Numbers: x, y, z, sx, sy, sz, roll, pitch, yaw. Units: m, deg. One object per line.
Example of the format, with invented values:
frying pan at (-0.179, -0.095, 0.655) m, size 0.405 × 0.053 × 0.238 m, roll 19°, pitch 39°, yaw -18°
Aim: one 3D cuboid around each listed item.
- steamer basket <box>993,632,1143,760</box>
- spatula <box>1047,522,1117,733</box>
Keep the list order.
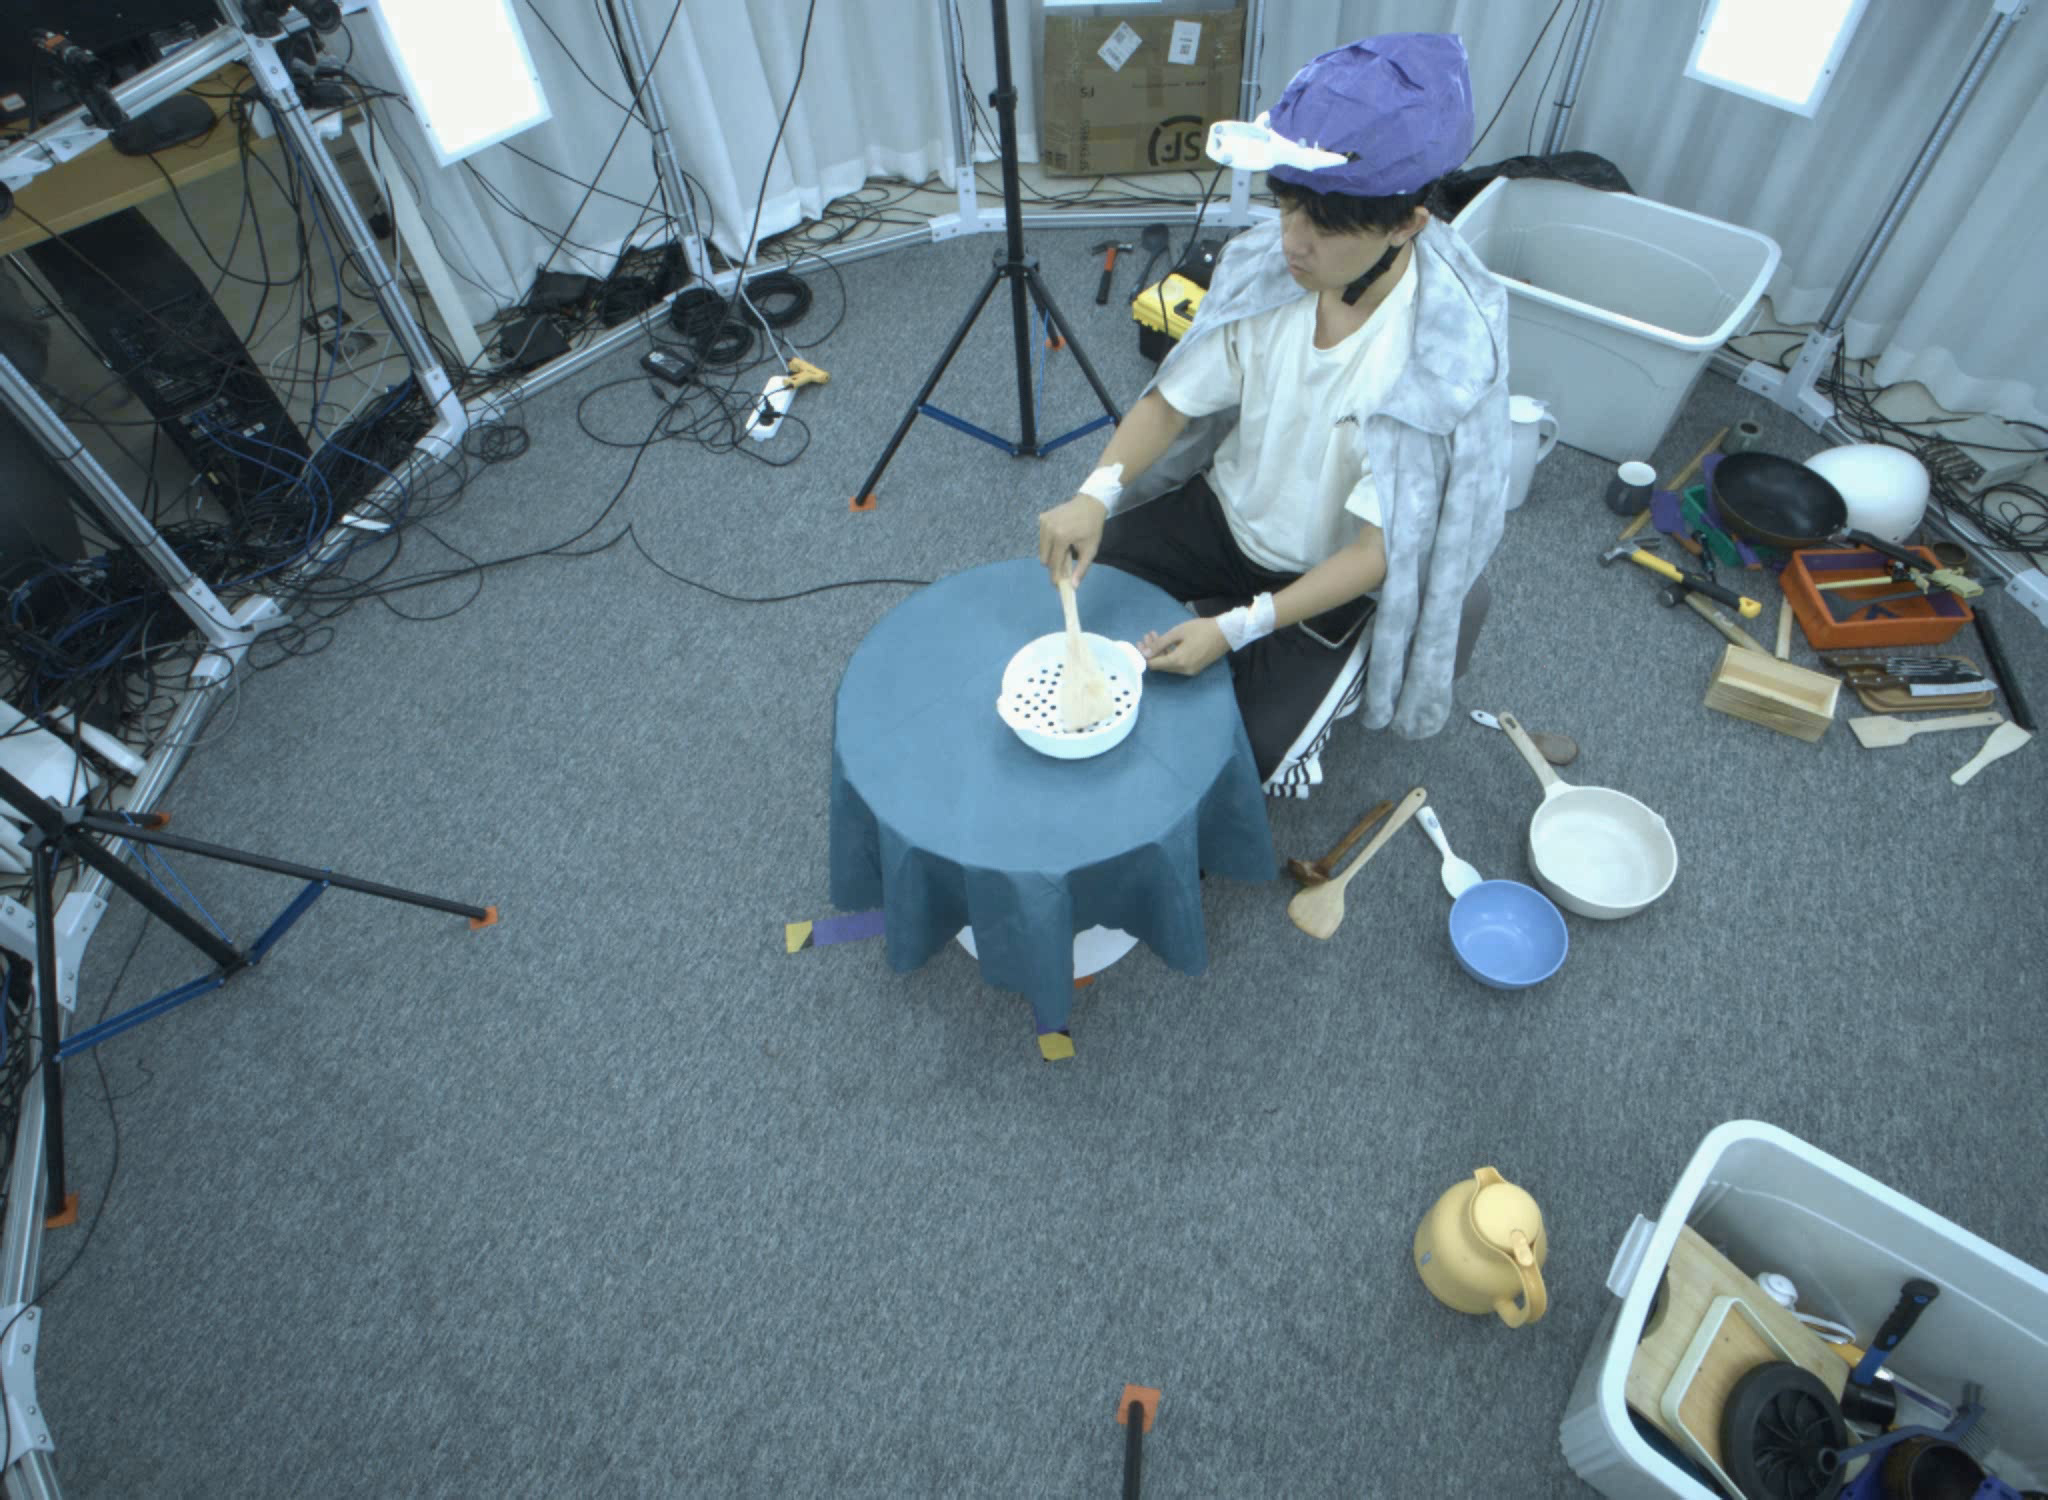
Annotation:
steamer basket at (0.065, -0.077, 1.802) m, size 0.232 × 0.070 × 0.198 m, roll -26°, pitch 59°, yaw -16°
spatula at (0.072, -0.185, 1.798) m, size 0.079 × 0.017 × 0.325 m, roll -11°, pitch 78°, yaw 8°
